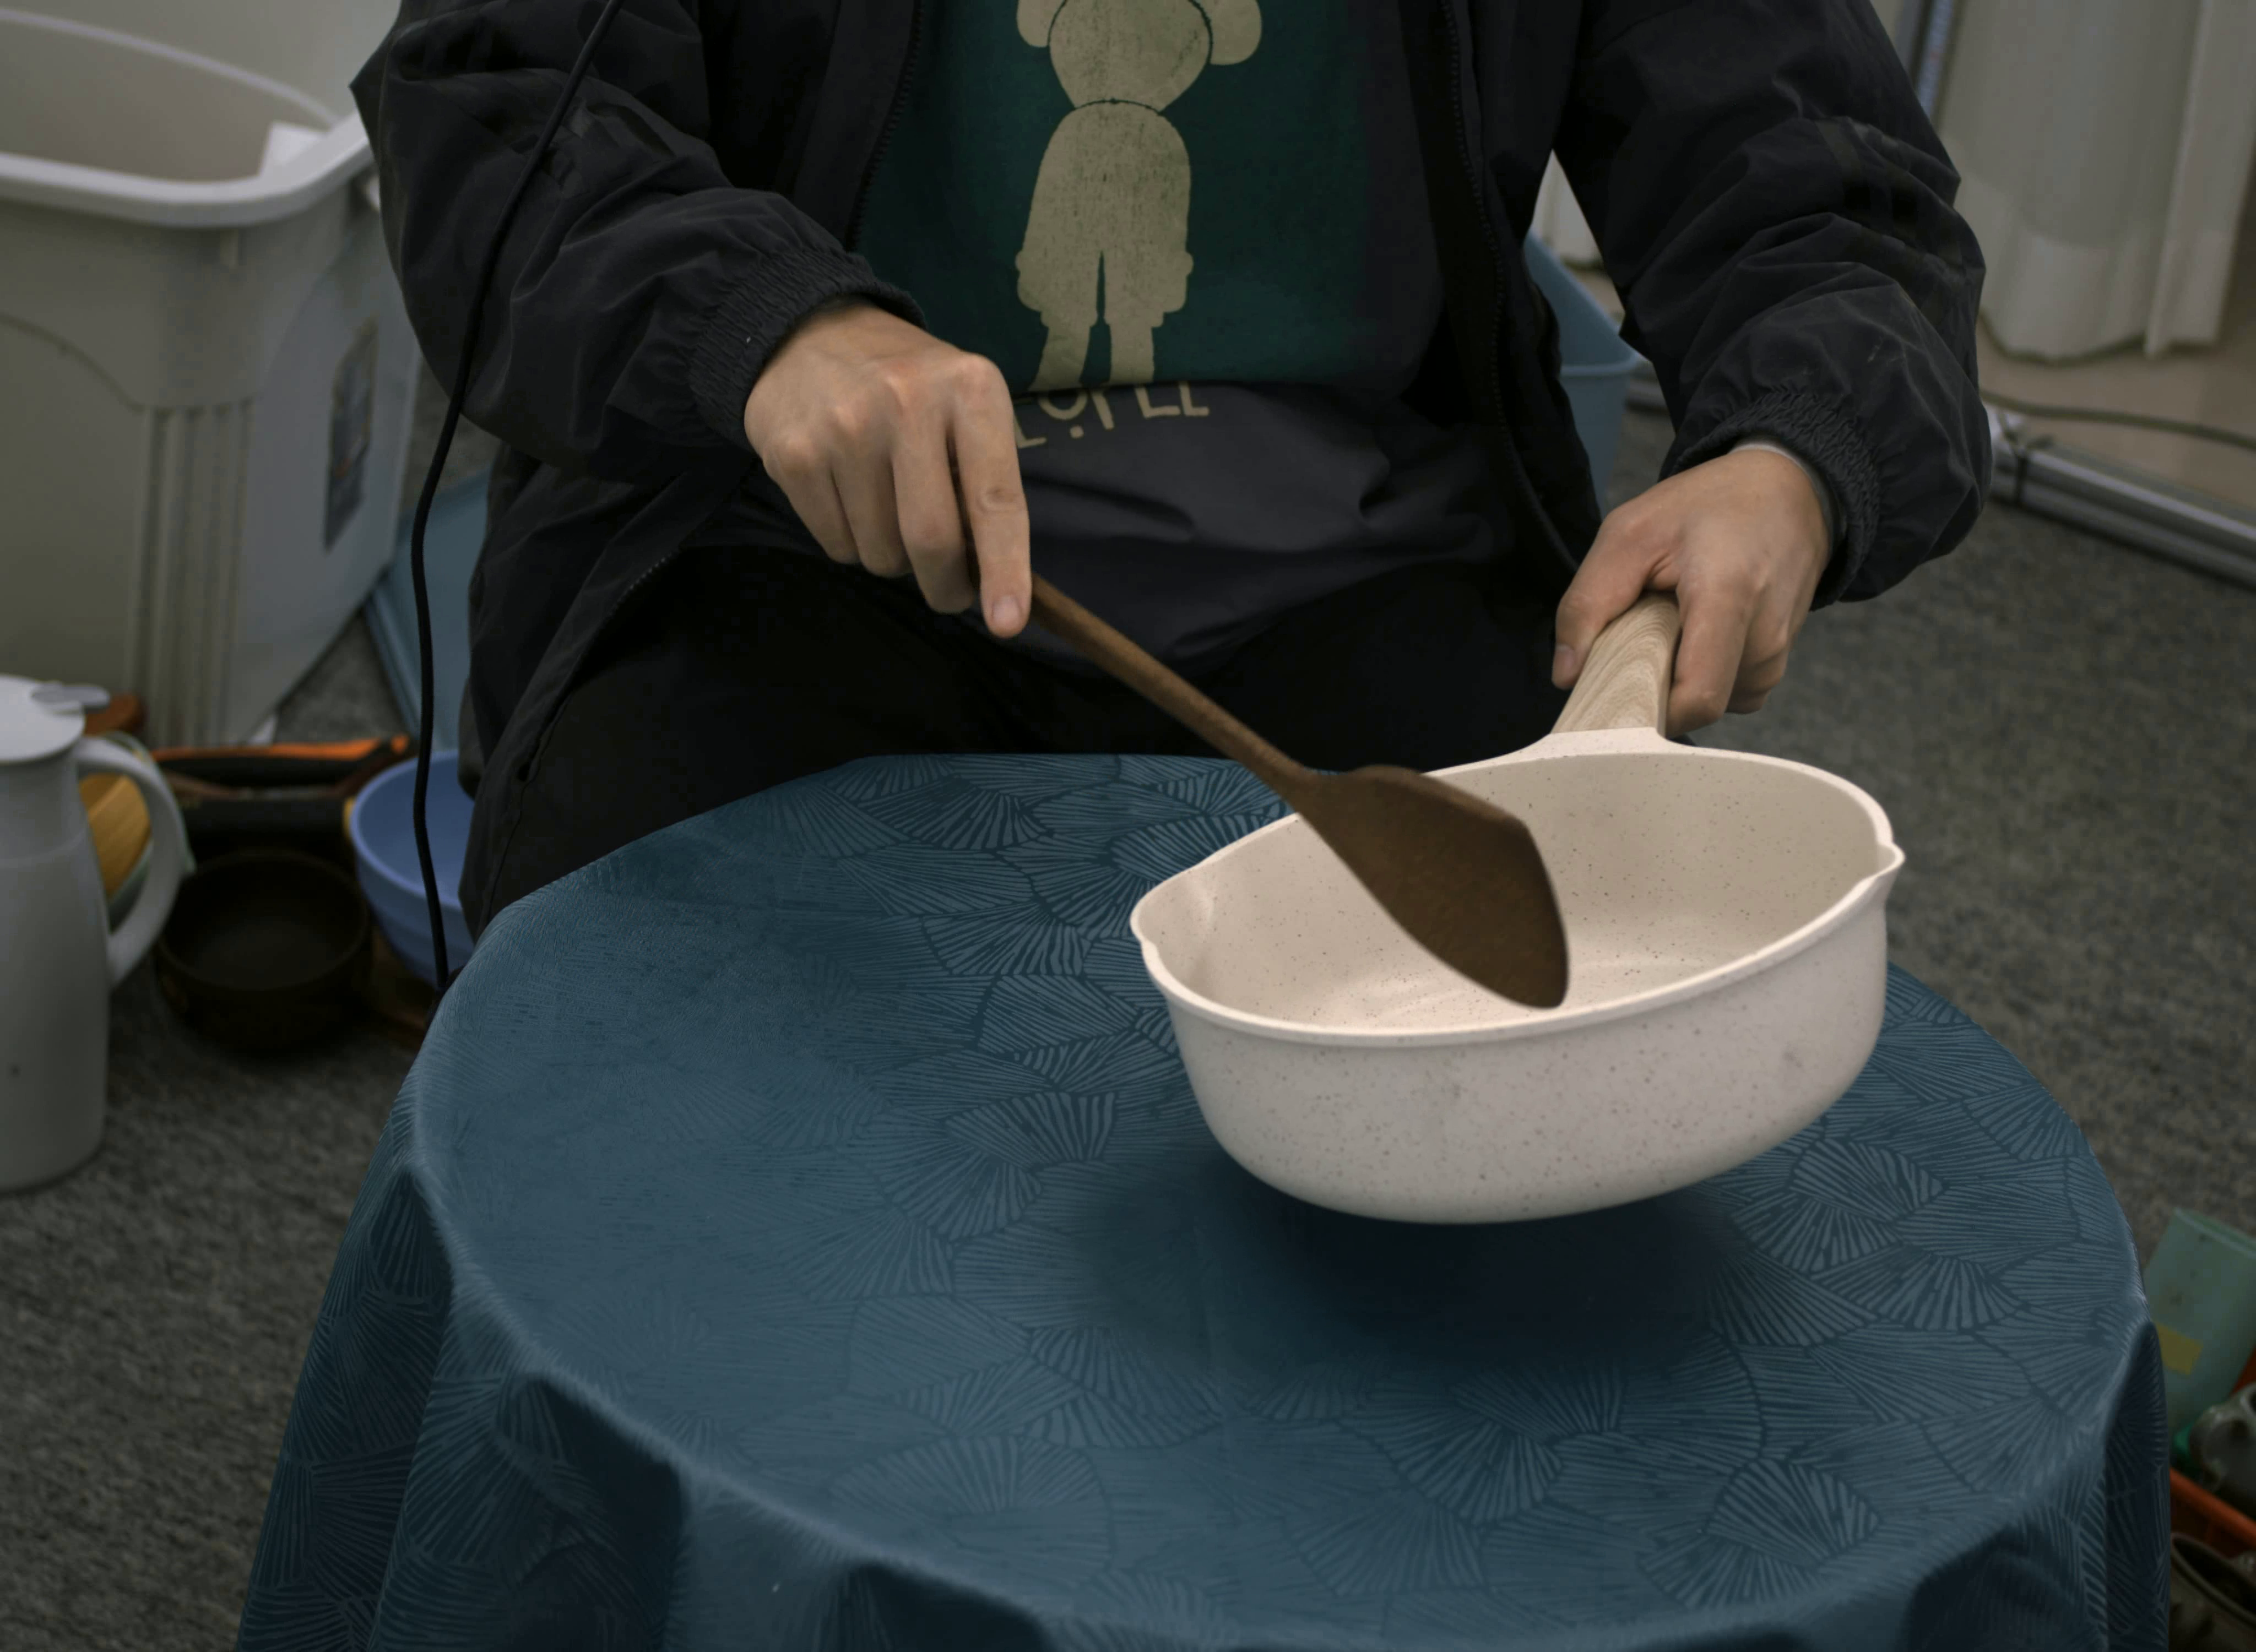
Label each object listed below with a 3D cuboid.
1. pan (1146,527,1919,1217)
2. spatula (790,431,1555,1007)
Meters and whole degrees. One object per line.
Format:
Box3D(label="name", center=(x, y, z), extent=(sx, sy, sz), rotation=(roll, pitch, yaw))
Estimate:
Box3D(label="pan", center=(0.163, 0.012, 1.851), extent=(0.264, 0.101, 0.435), rotation=(-6, 20, 20))
Box3D(label="spatula", center=(0.008, -0.049, 1.826), extent=(0.016, 0.095, 0.389), rotation=(-37, 50, -22))
